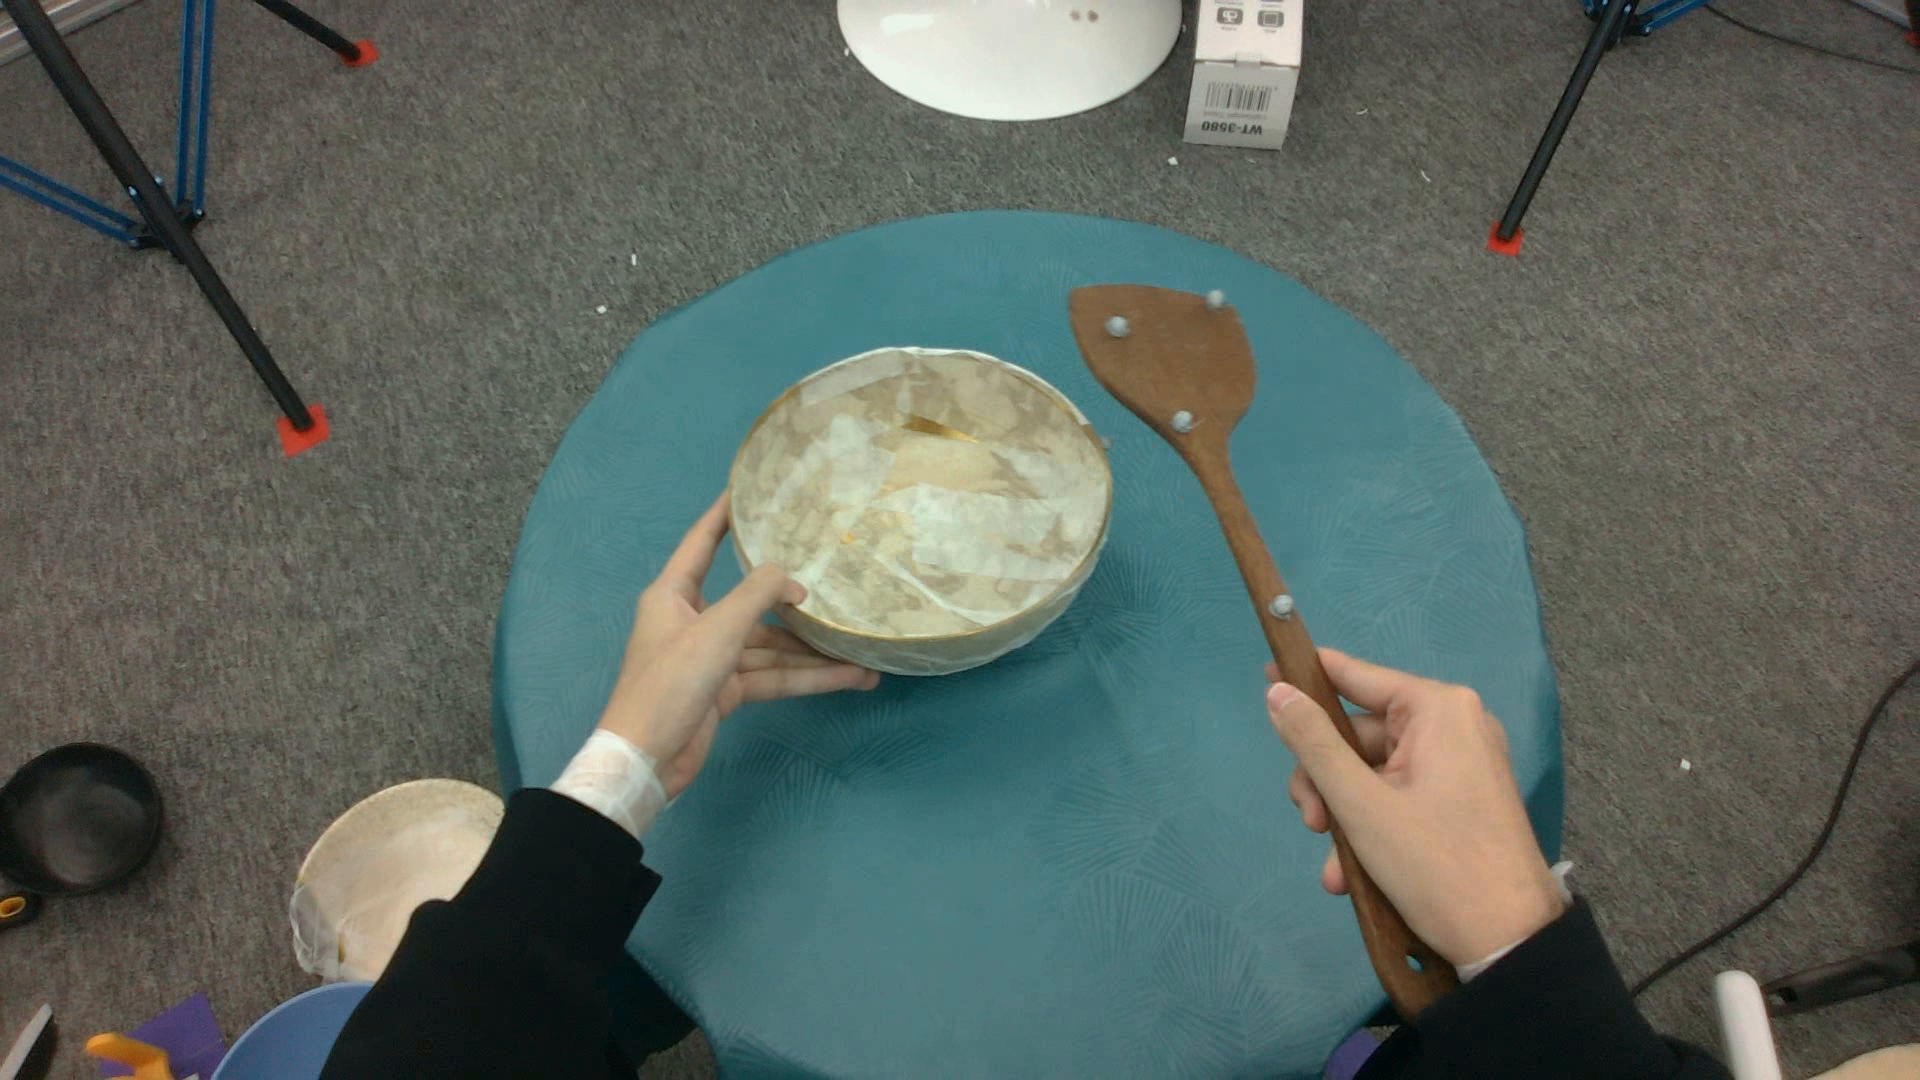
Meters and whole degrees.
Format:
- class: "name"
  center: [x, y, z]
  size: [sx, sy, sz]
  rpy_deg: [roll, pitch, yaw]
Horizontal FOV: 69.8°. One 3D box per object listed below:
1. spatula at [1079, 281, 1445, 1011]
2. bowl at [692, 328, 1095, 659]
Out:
- class: "spatula"
  center: [0.131, 0.013, 0.597]
  size: [0.096, 0.015, 0.387]
  rpy_deg: [-1, 49, -13]
- class: "bowl"
  center: [-0.037, -0.011, 0.745]
  size: [0.215, 0.094, 0.215]
  rpy_deg: [2, 52, -2]
